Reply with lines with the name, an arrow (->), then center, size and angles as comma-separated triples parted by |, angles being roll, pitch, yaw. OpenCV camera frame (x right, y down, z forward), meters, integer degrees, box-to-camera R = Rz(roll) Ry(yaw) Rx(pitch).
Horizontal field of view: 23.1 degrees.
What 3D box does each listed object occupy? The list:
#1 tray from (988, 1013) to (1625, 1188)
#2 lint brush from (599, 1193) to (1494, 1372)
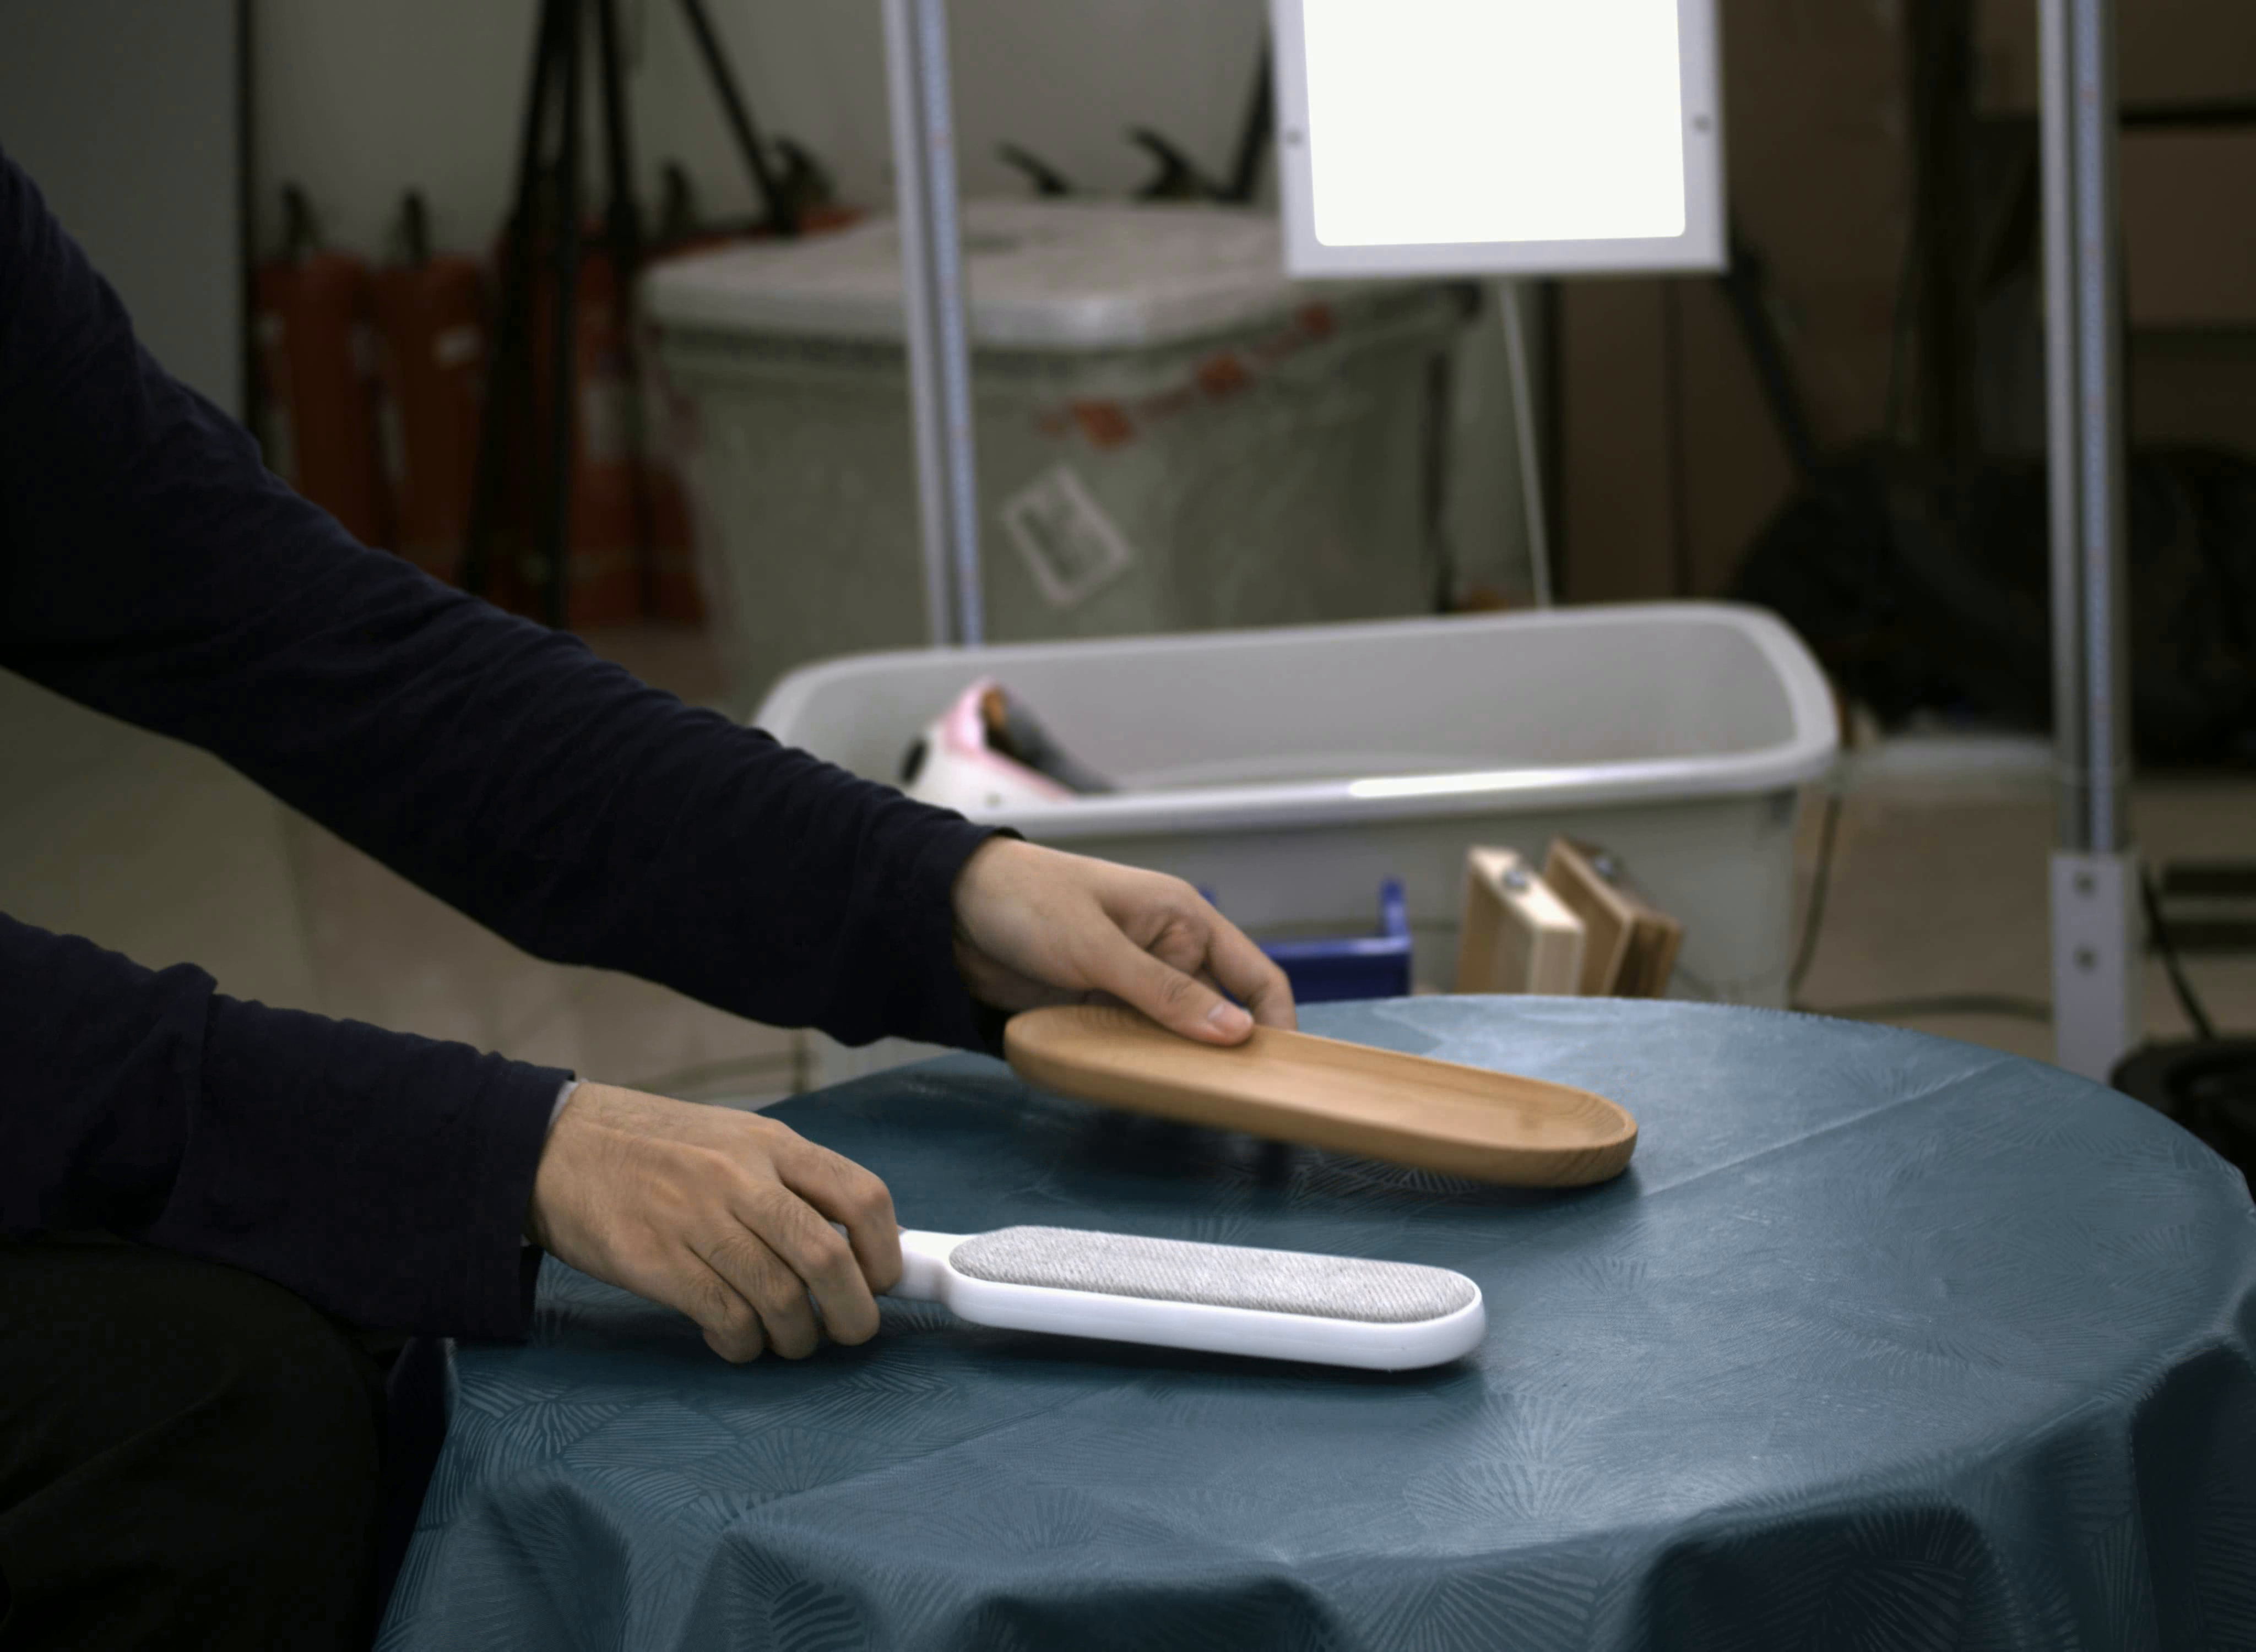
tray -> 0.061, 0.095, 1.915 | 0.234, 0.020, 0.099 | 7, 12, 24
lint brush -> -0.031, 0.142, 1.759 | 0.314, 0.021, 0.059 | 5, 23, 25
